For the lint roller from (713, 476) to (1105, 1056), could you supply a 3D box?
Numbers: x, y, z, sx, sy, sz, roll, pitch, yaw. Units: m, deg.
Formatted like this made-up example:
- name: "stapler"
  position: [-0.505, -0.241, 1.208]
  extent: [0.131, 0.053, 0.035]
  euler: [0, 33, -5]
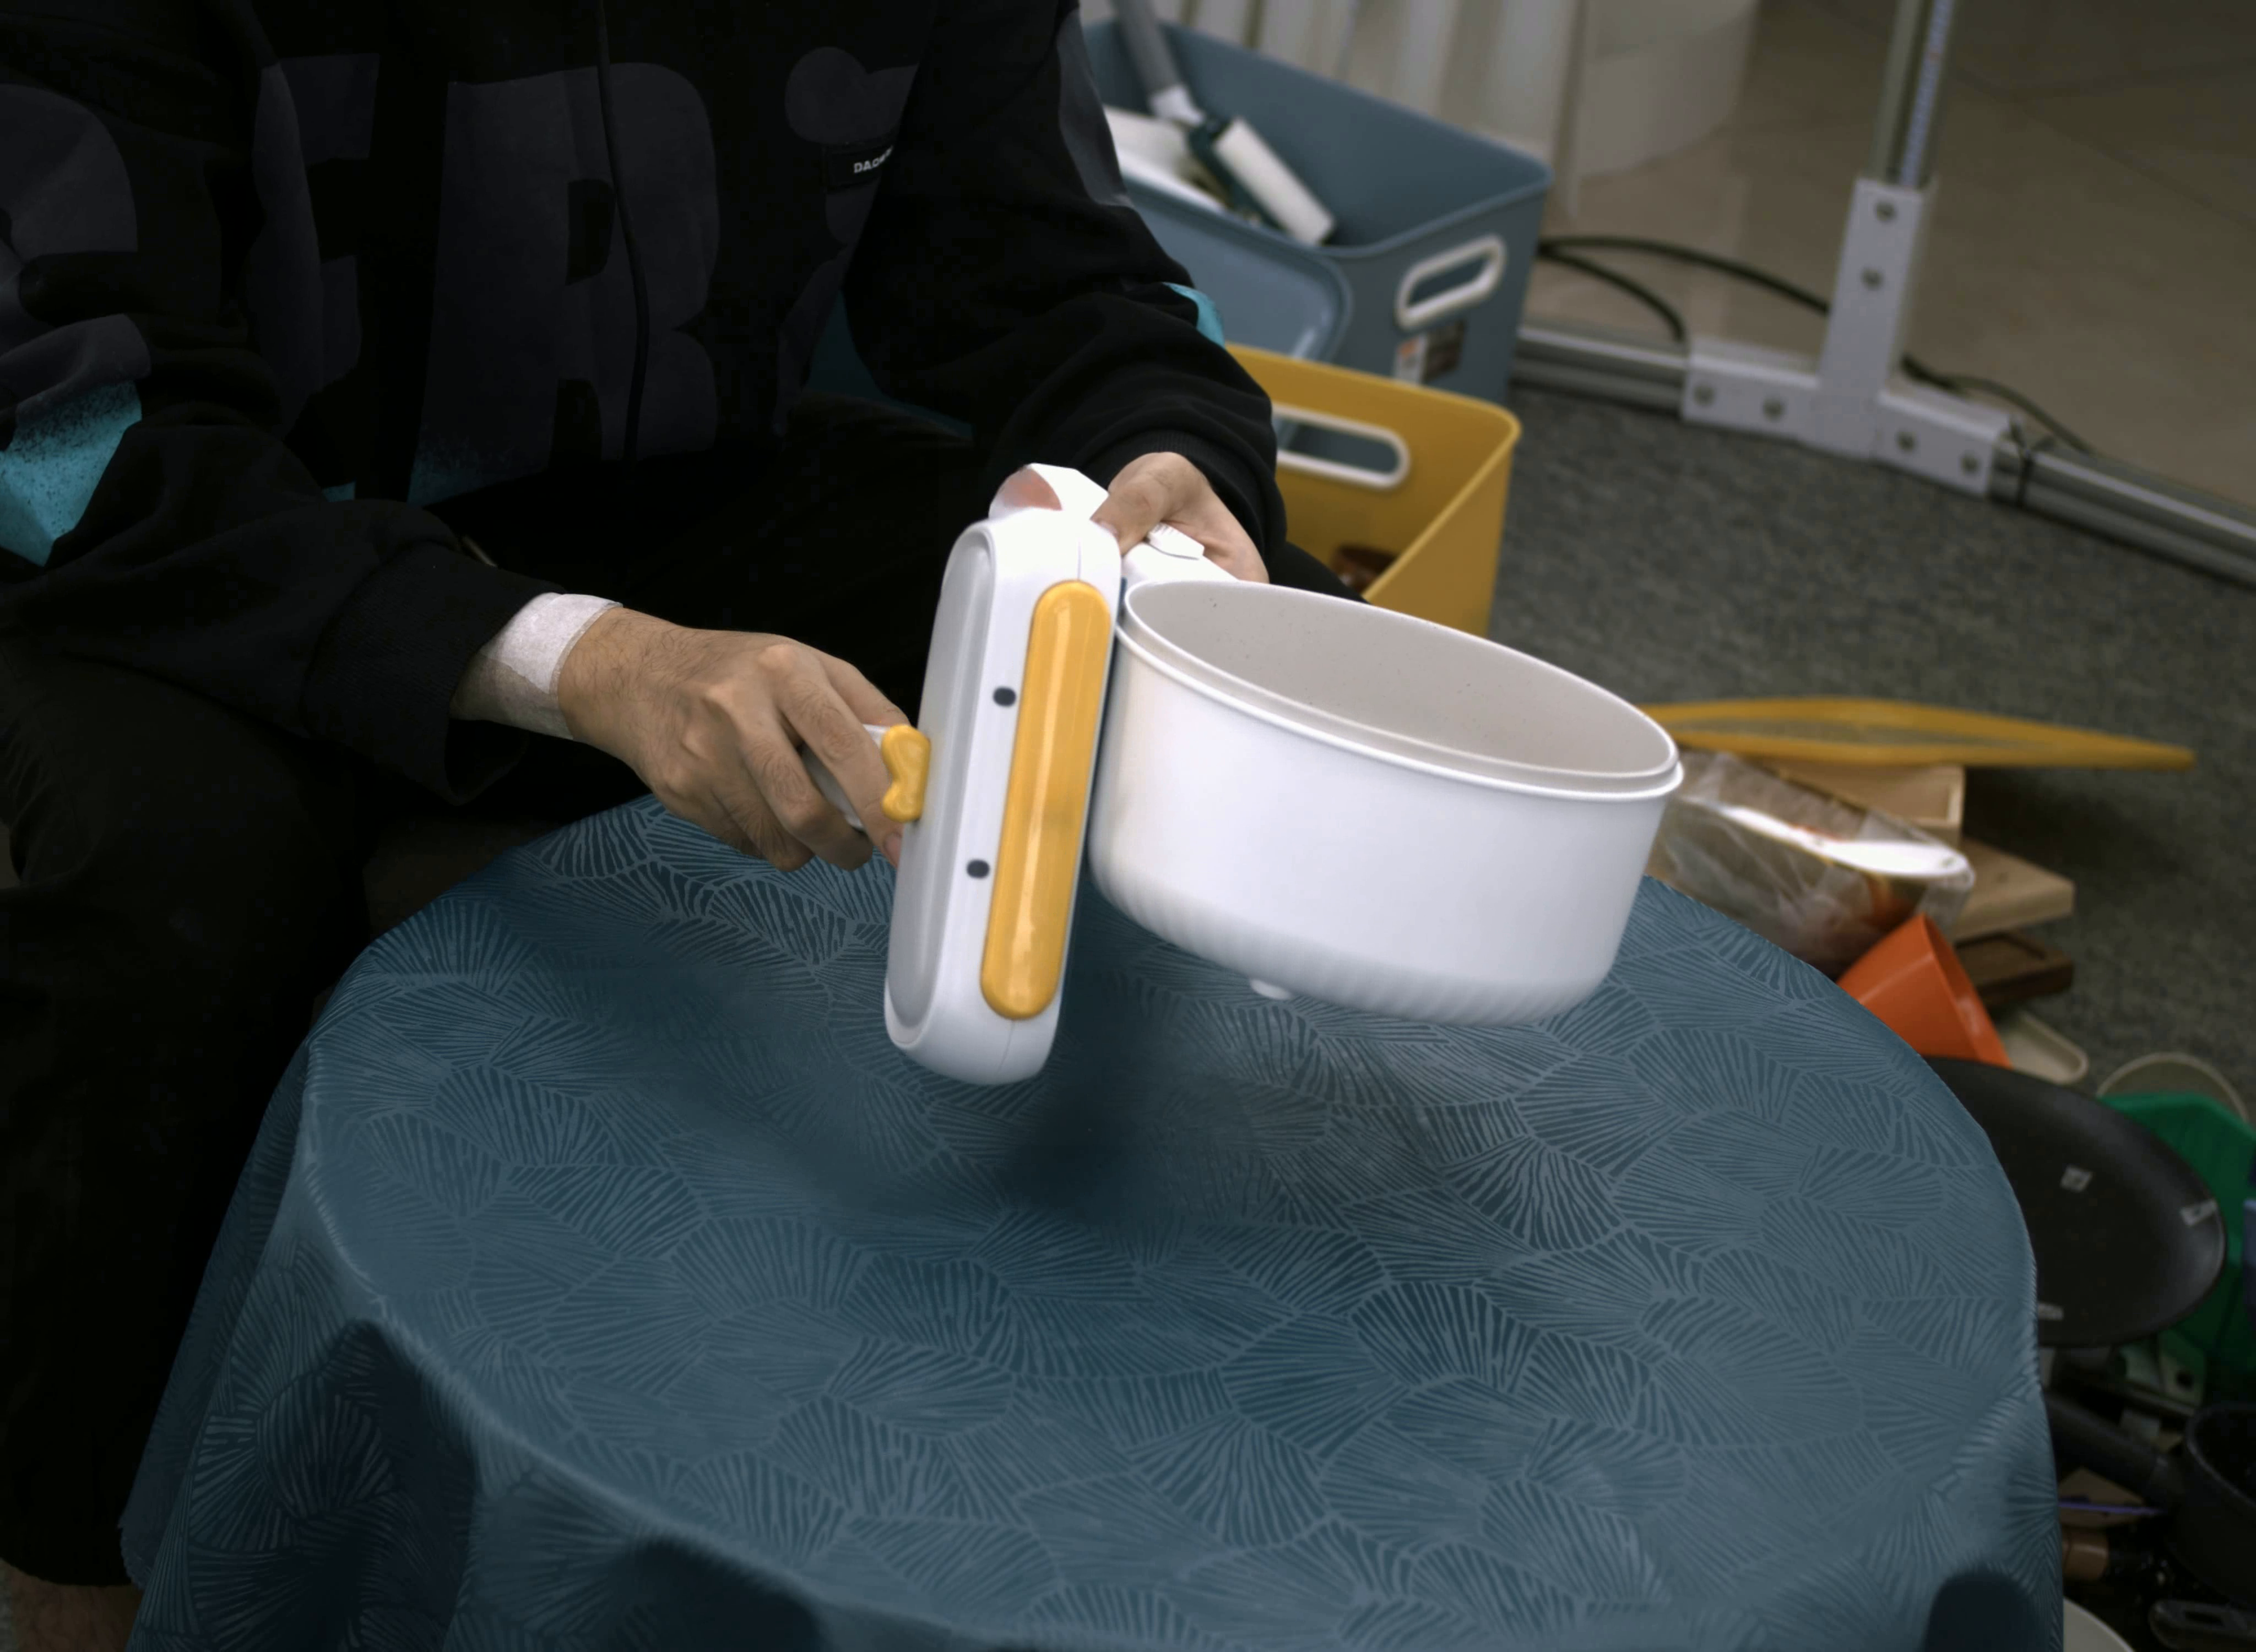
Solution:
- name: "lint roller"
  position: [-0.077, -0.019, 1.813]
  extent: [0.073, 0.193, 0.193]
  euler: [4, -4, -28]

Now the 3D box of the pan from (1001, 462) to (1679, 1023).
- name: "pan"
  position: [0.040, -0.032, 1.860]
  extent: [0.199, 0.102, 0.358]
  euler: [8, 15, -32]
